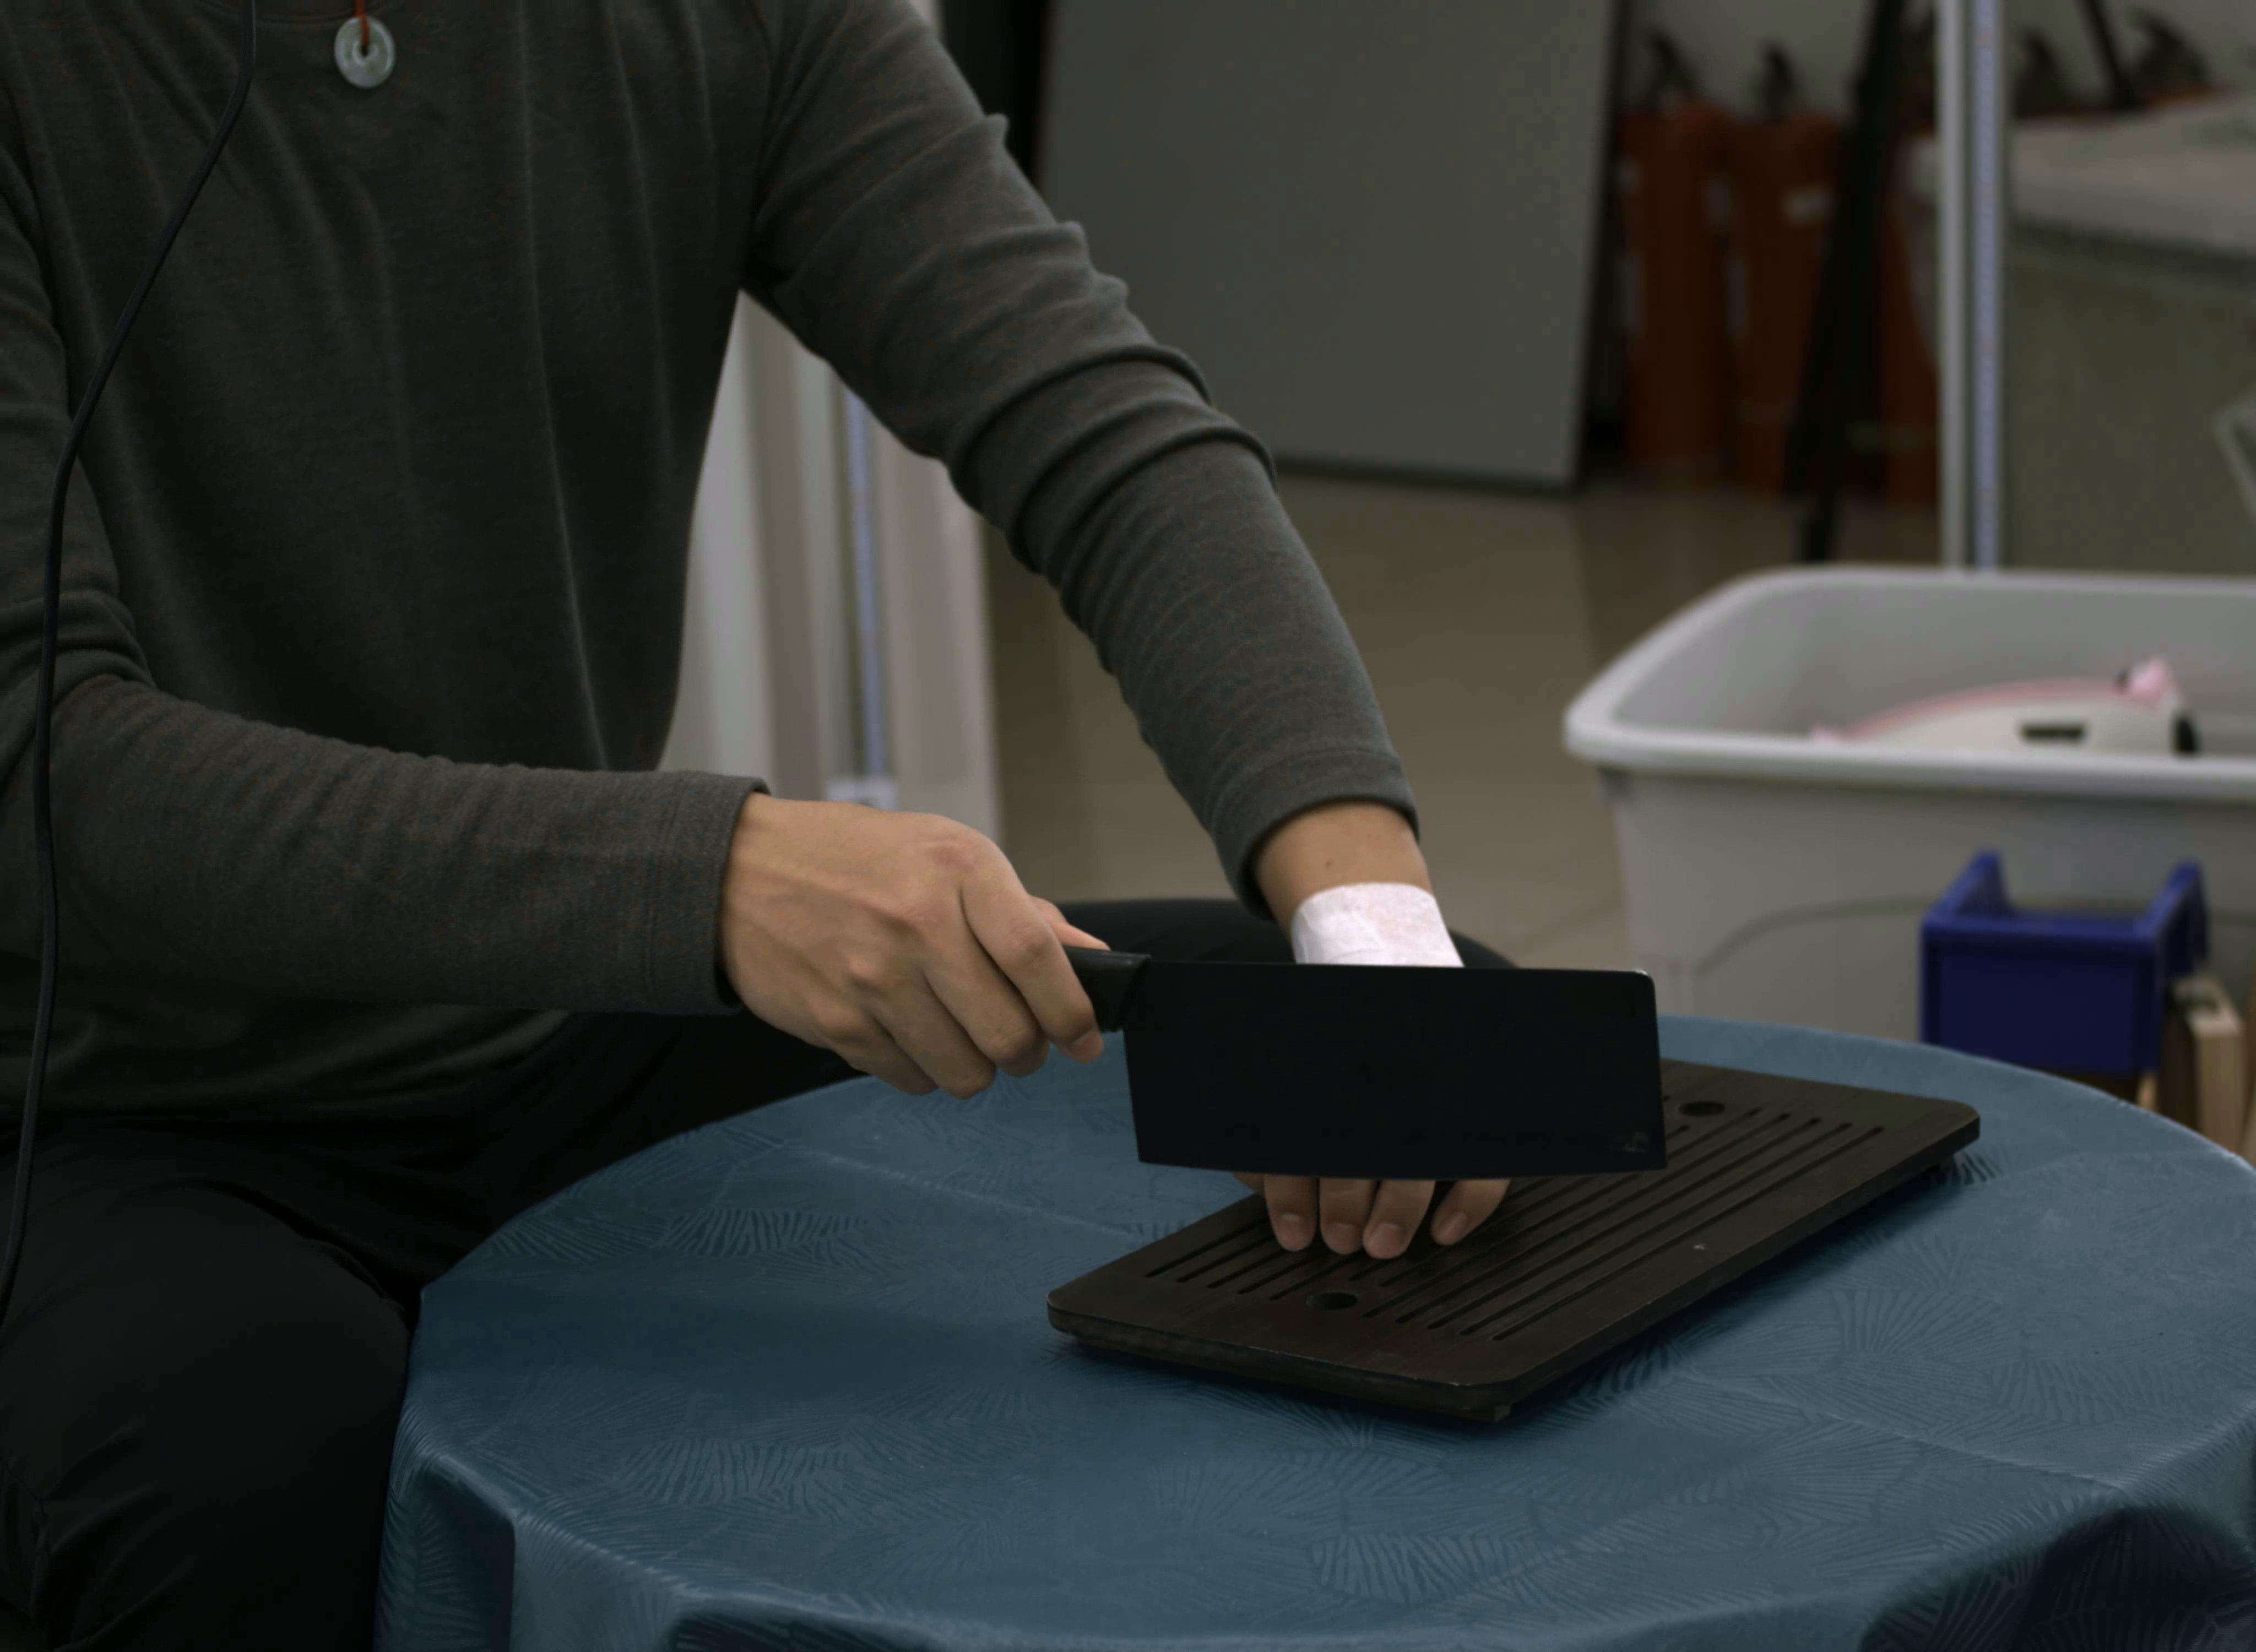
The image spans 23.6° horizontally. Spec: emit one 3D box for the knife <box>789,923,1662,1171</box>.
[{"bbox_3d":[0.024,0.065,1.623,0.303,0.082,0.020,4,12,32],"label":"knife"}]

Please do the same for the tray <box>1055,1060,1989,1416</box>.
[{"bbox_3d":[0.129,0.125,1.682,0.171,0.019,0.300,5,16,38],"label":"tray"}]
